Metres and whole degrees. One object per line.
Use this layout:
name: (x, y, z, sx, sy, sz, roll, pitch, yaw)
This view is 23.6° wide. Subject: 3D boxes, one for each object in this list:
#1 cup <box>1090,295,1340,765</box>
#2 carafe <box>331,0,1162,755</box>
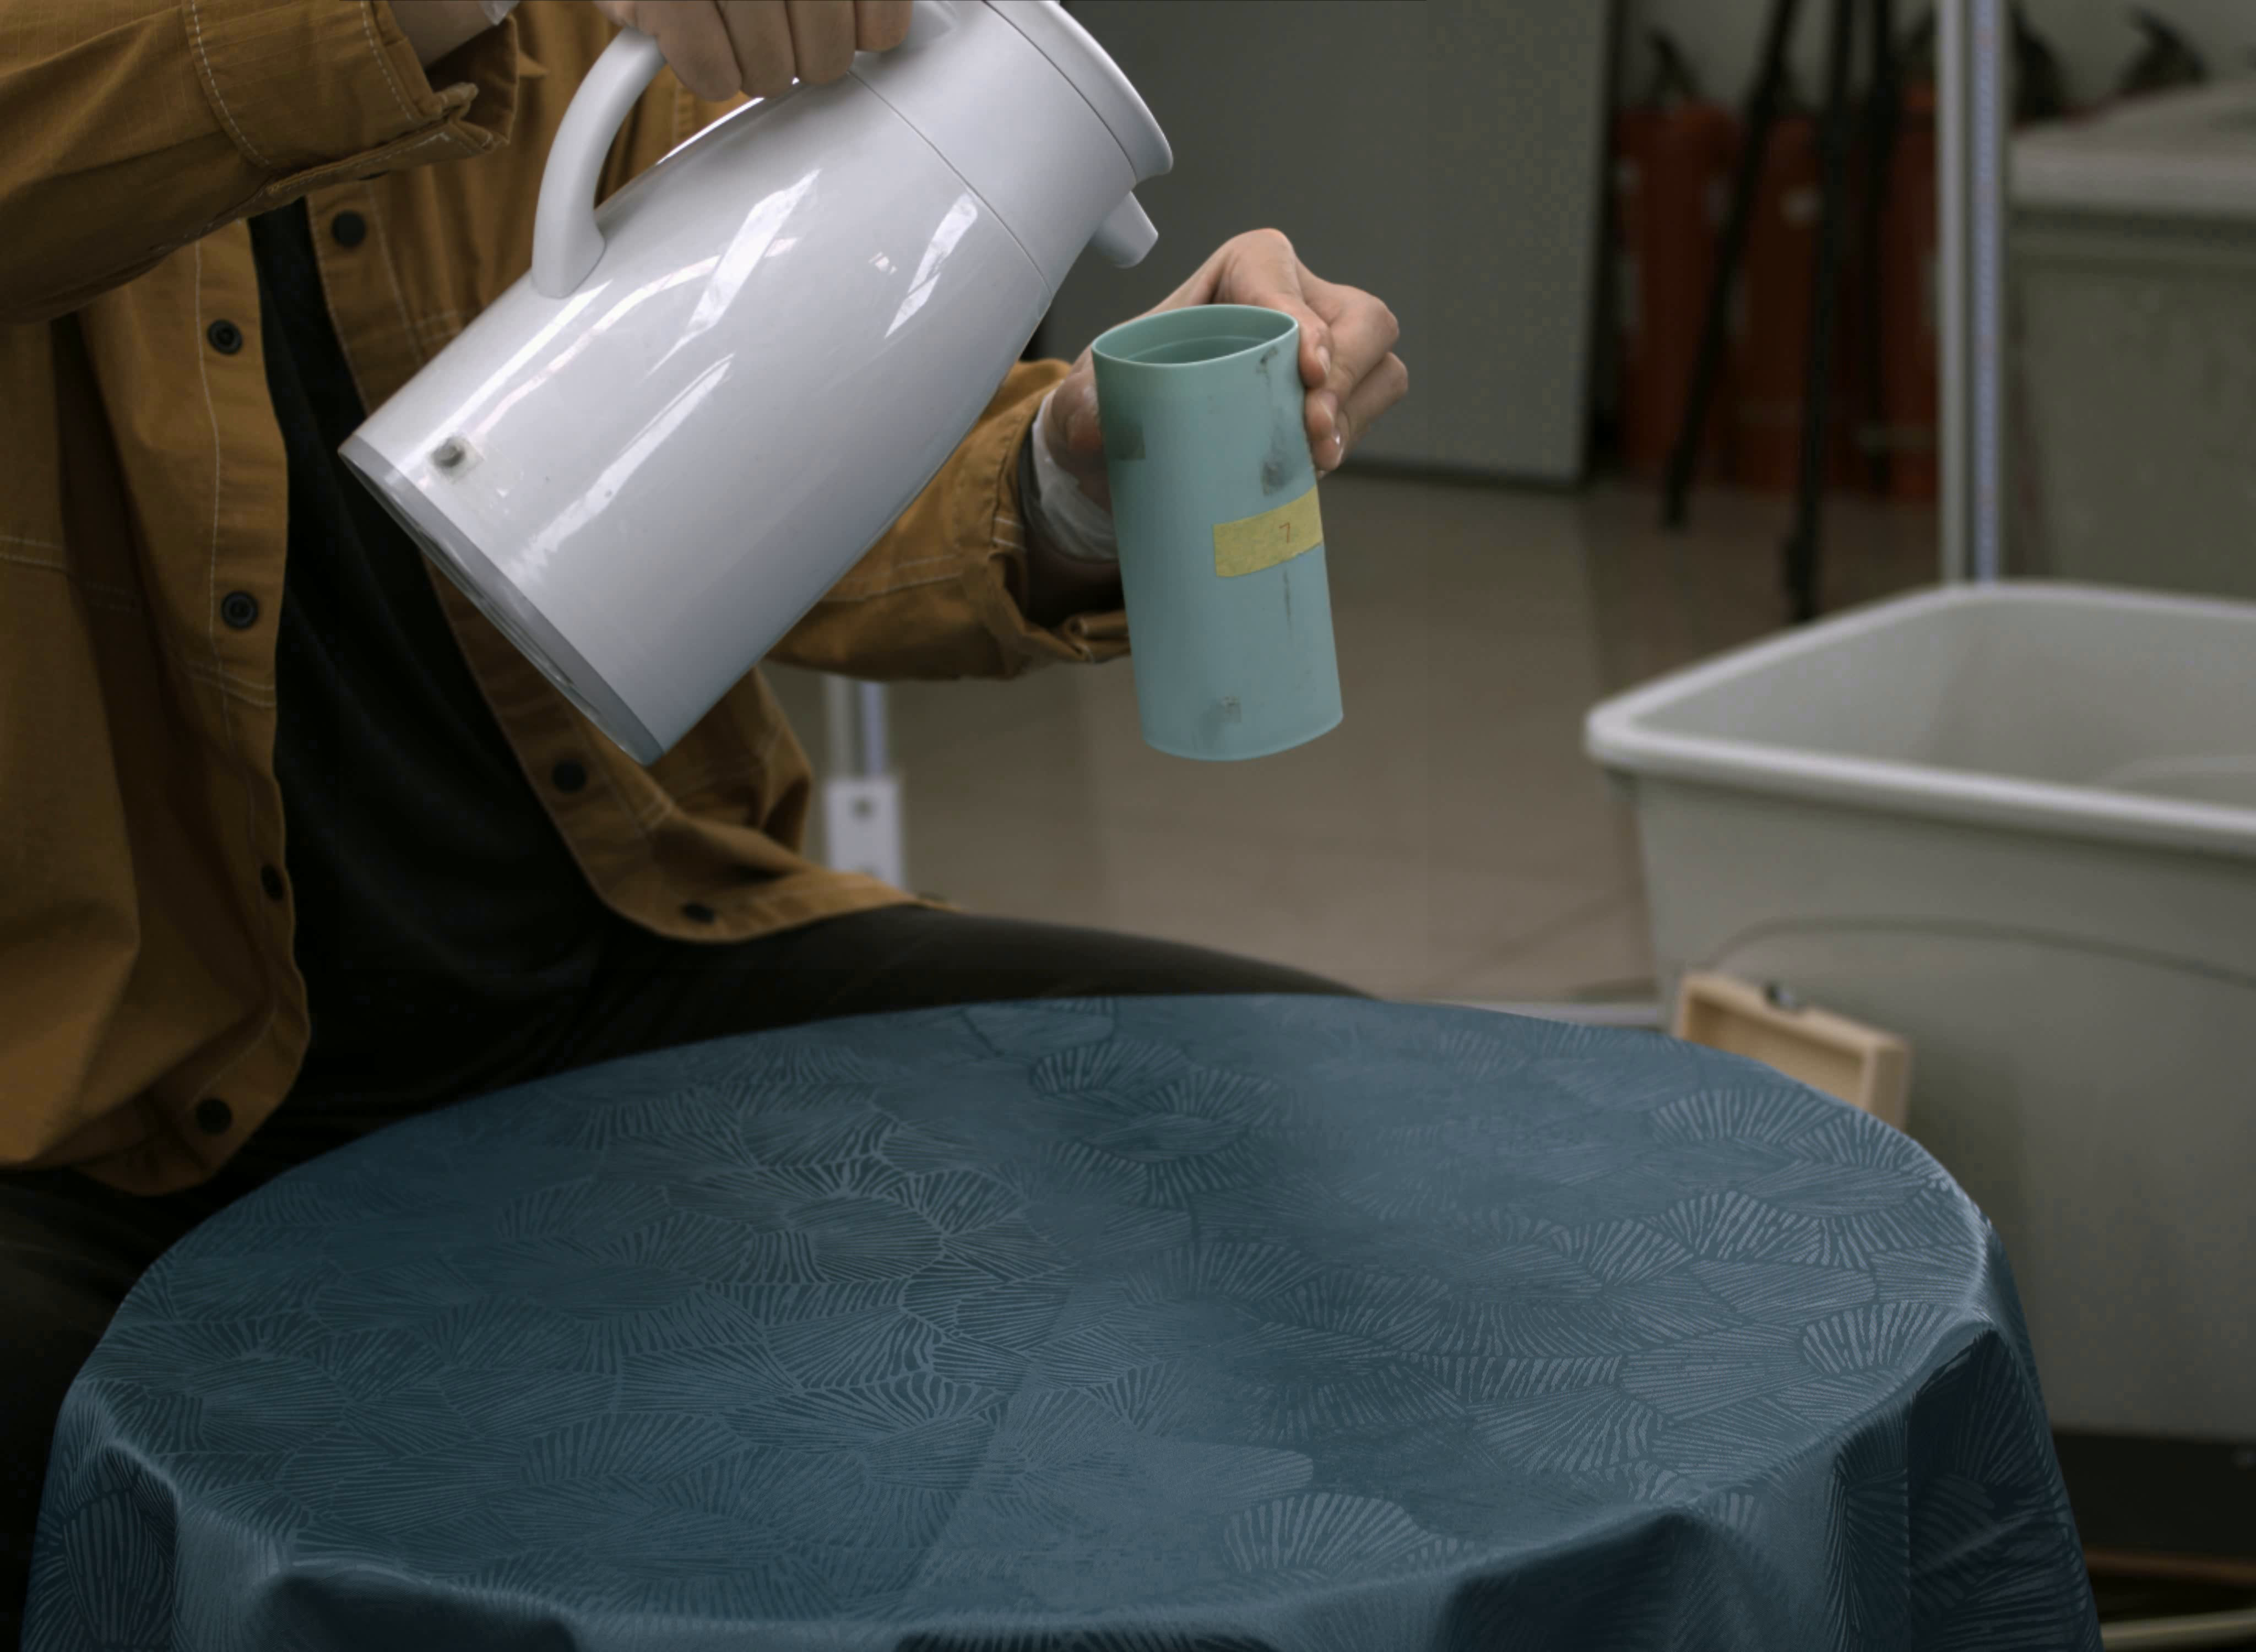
cup: (0.027, -0.093, 1.685, 0.066, 0.133, 0.067, -7, 19, 2)
carafe: (-0.112, -0.166, 1.591, 0.248, 0.166, 0.134, -45, 33, -5)
